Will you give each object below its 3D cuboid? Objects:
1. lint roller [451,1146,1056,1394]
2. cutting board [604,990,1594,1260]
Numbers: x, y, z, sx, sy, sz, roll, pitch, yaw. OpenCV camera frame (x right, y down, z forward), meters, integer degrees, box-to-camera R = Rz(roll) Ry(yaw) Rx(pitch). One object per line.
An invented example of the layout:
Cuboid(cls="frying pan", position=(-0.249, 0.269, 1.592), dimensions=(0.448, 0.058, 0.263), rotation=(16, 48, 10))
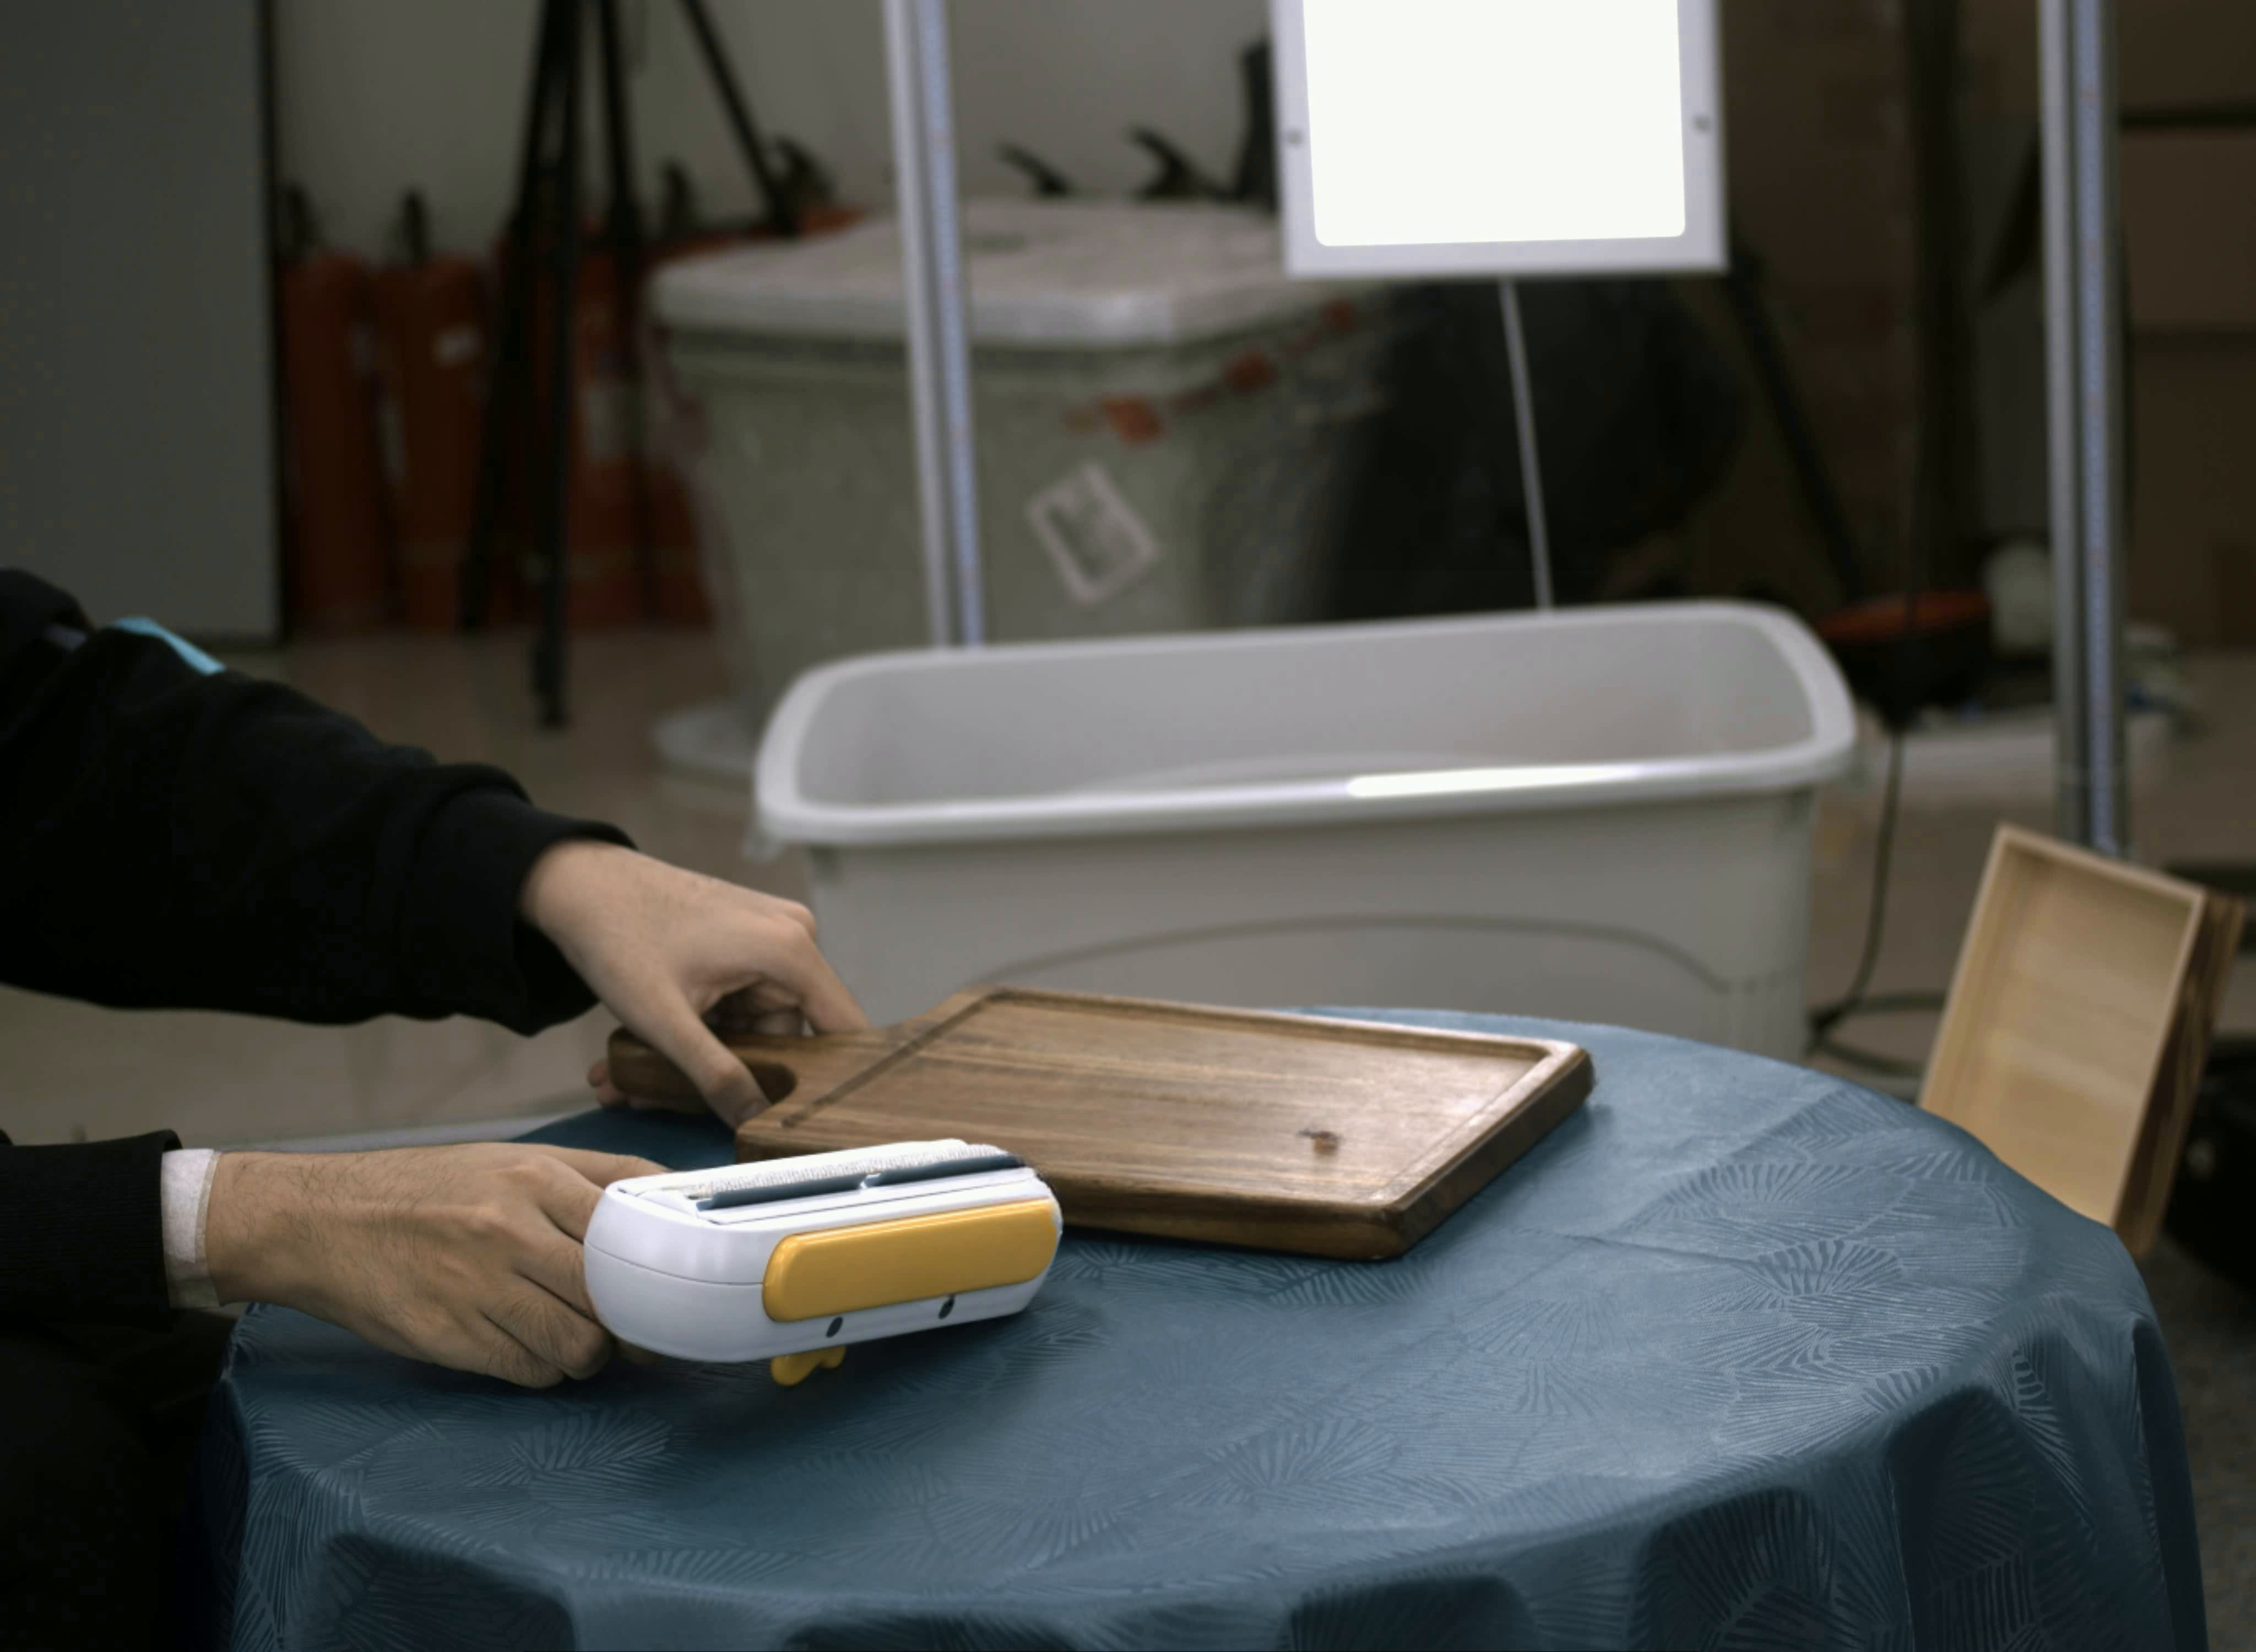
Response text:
Cuboid(cls="lint roller", position=(-0.143, 0.136, 1.765), dimensions=(0.196, 0.074, 0.188), rotation=(5, 9, 40))
Cuboid(cls="cutting board", position=(-0.028, 0.098, 1.951), dimensions=(0.358, 0.023, 0.197), rotation=(4, 16, 26))
